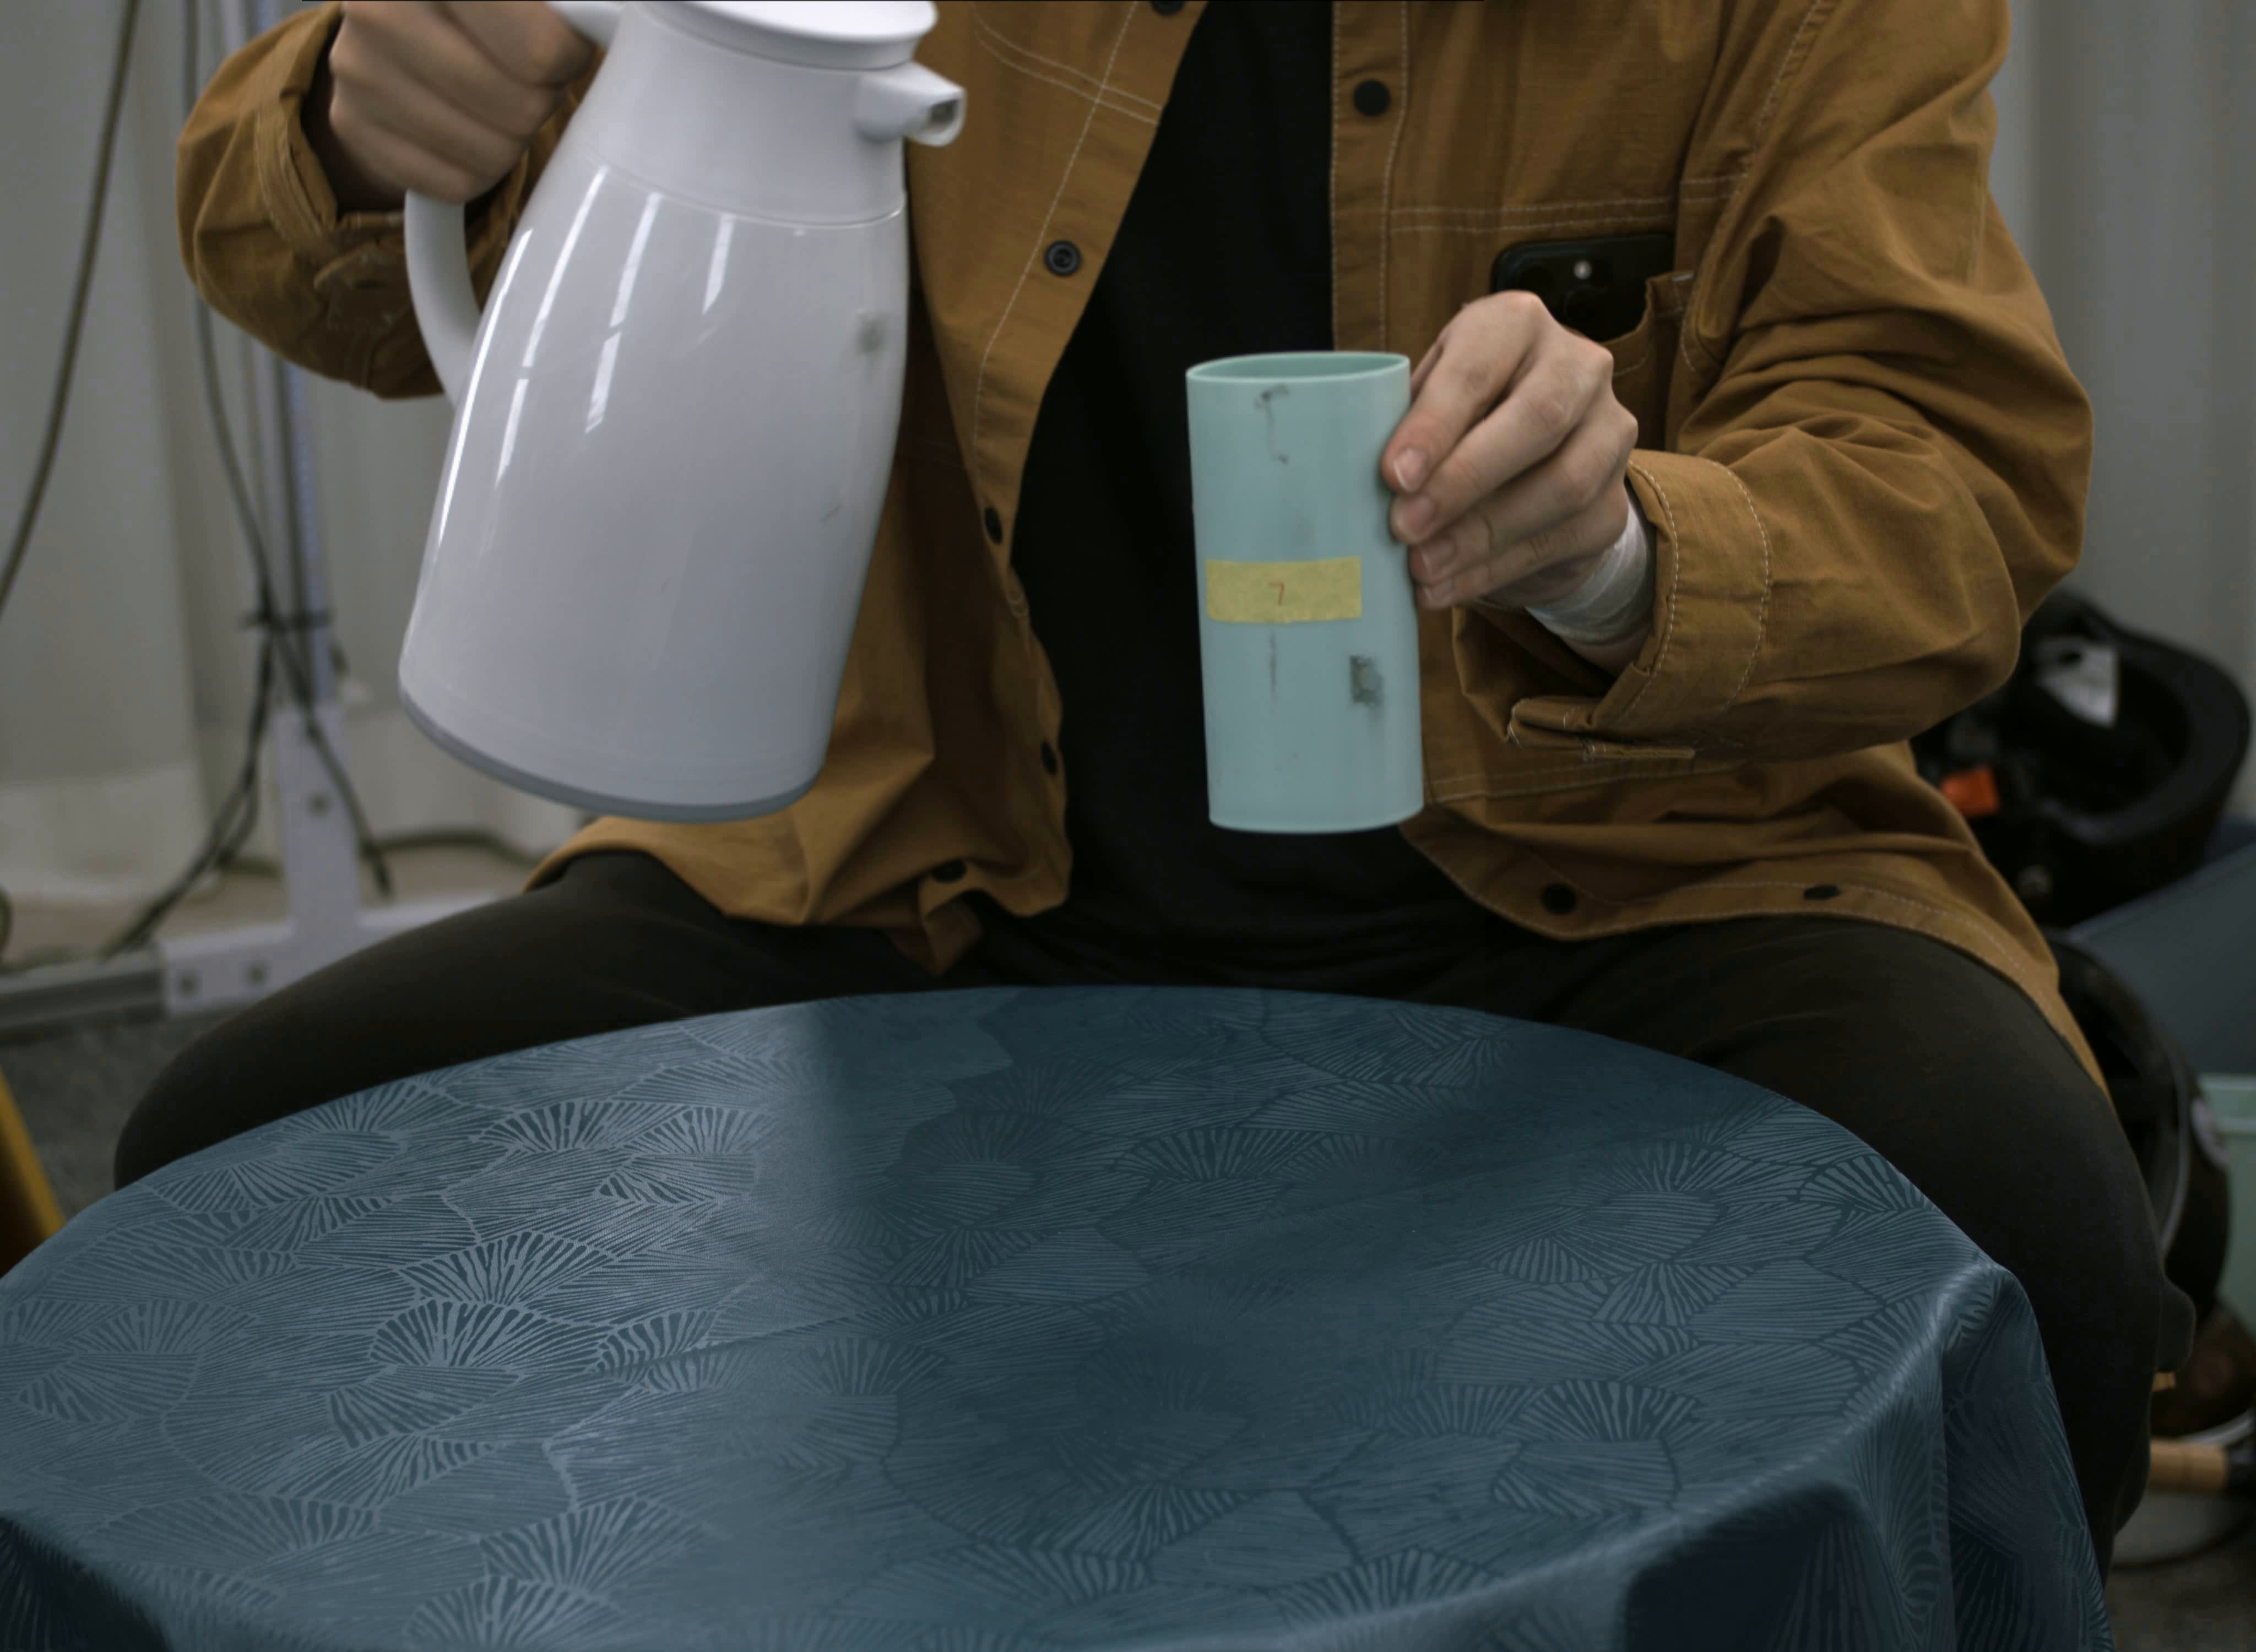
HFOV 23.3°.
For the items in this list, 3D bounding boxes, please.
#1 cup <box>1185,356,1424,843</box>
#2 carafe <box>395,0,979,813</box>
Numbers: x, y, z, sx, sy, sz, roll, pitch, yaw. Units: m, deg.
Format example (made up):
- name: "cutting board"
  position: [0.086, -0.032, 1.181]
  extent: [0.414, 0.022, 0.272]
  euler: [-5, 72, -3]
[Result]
- name: "cup"
  position: [0.052, -0.067, 1.576]
  extent: [0.066, 0.132, 0.067]
  euler: [-3, 11, 0]
- name: "carafe"
  position: [-0.142, -0.150, 1.619]
  extent: [0.168, 0.247, 0.133]
  euler: [24, 24, 19]
